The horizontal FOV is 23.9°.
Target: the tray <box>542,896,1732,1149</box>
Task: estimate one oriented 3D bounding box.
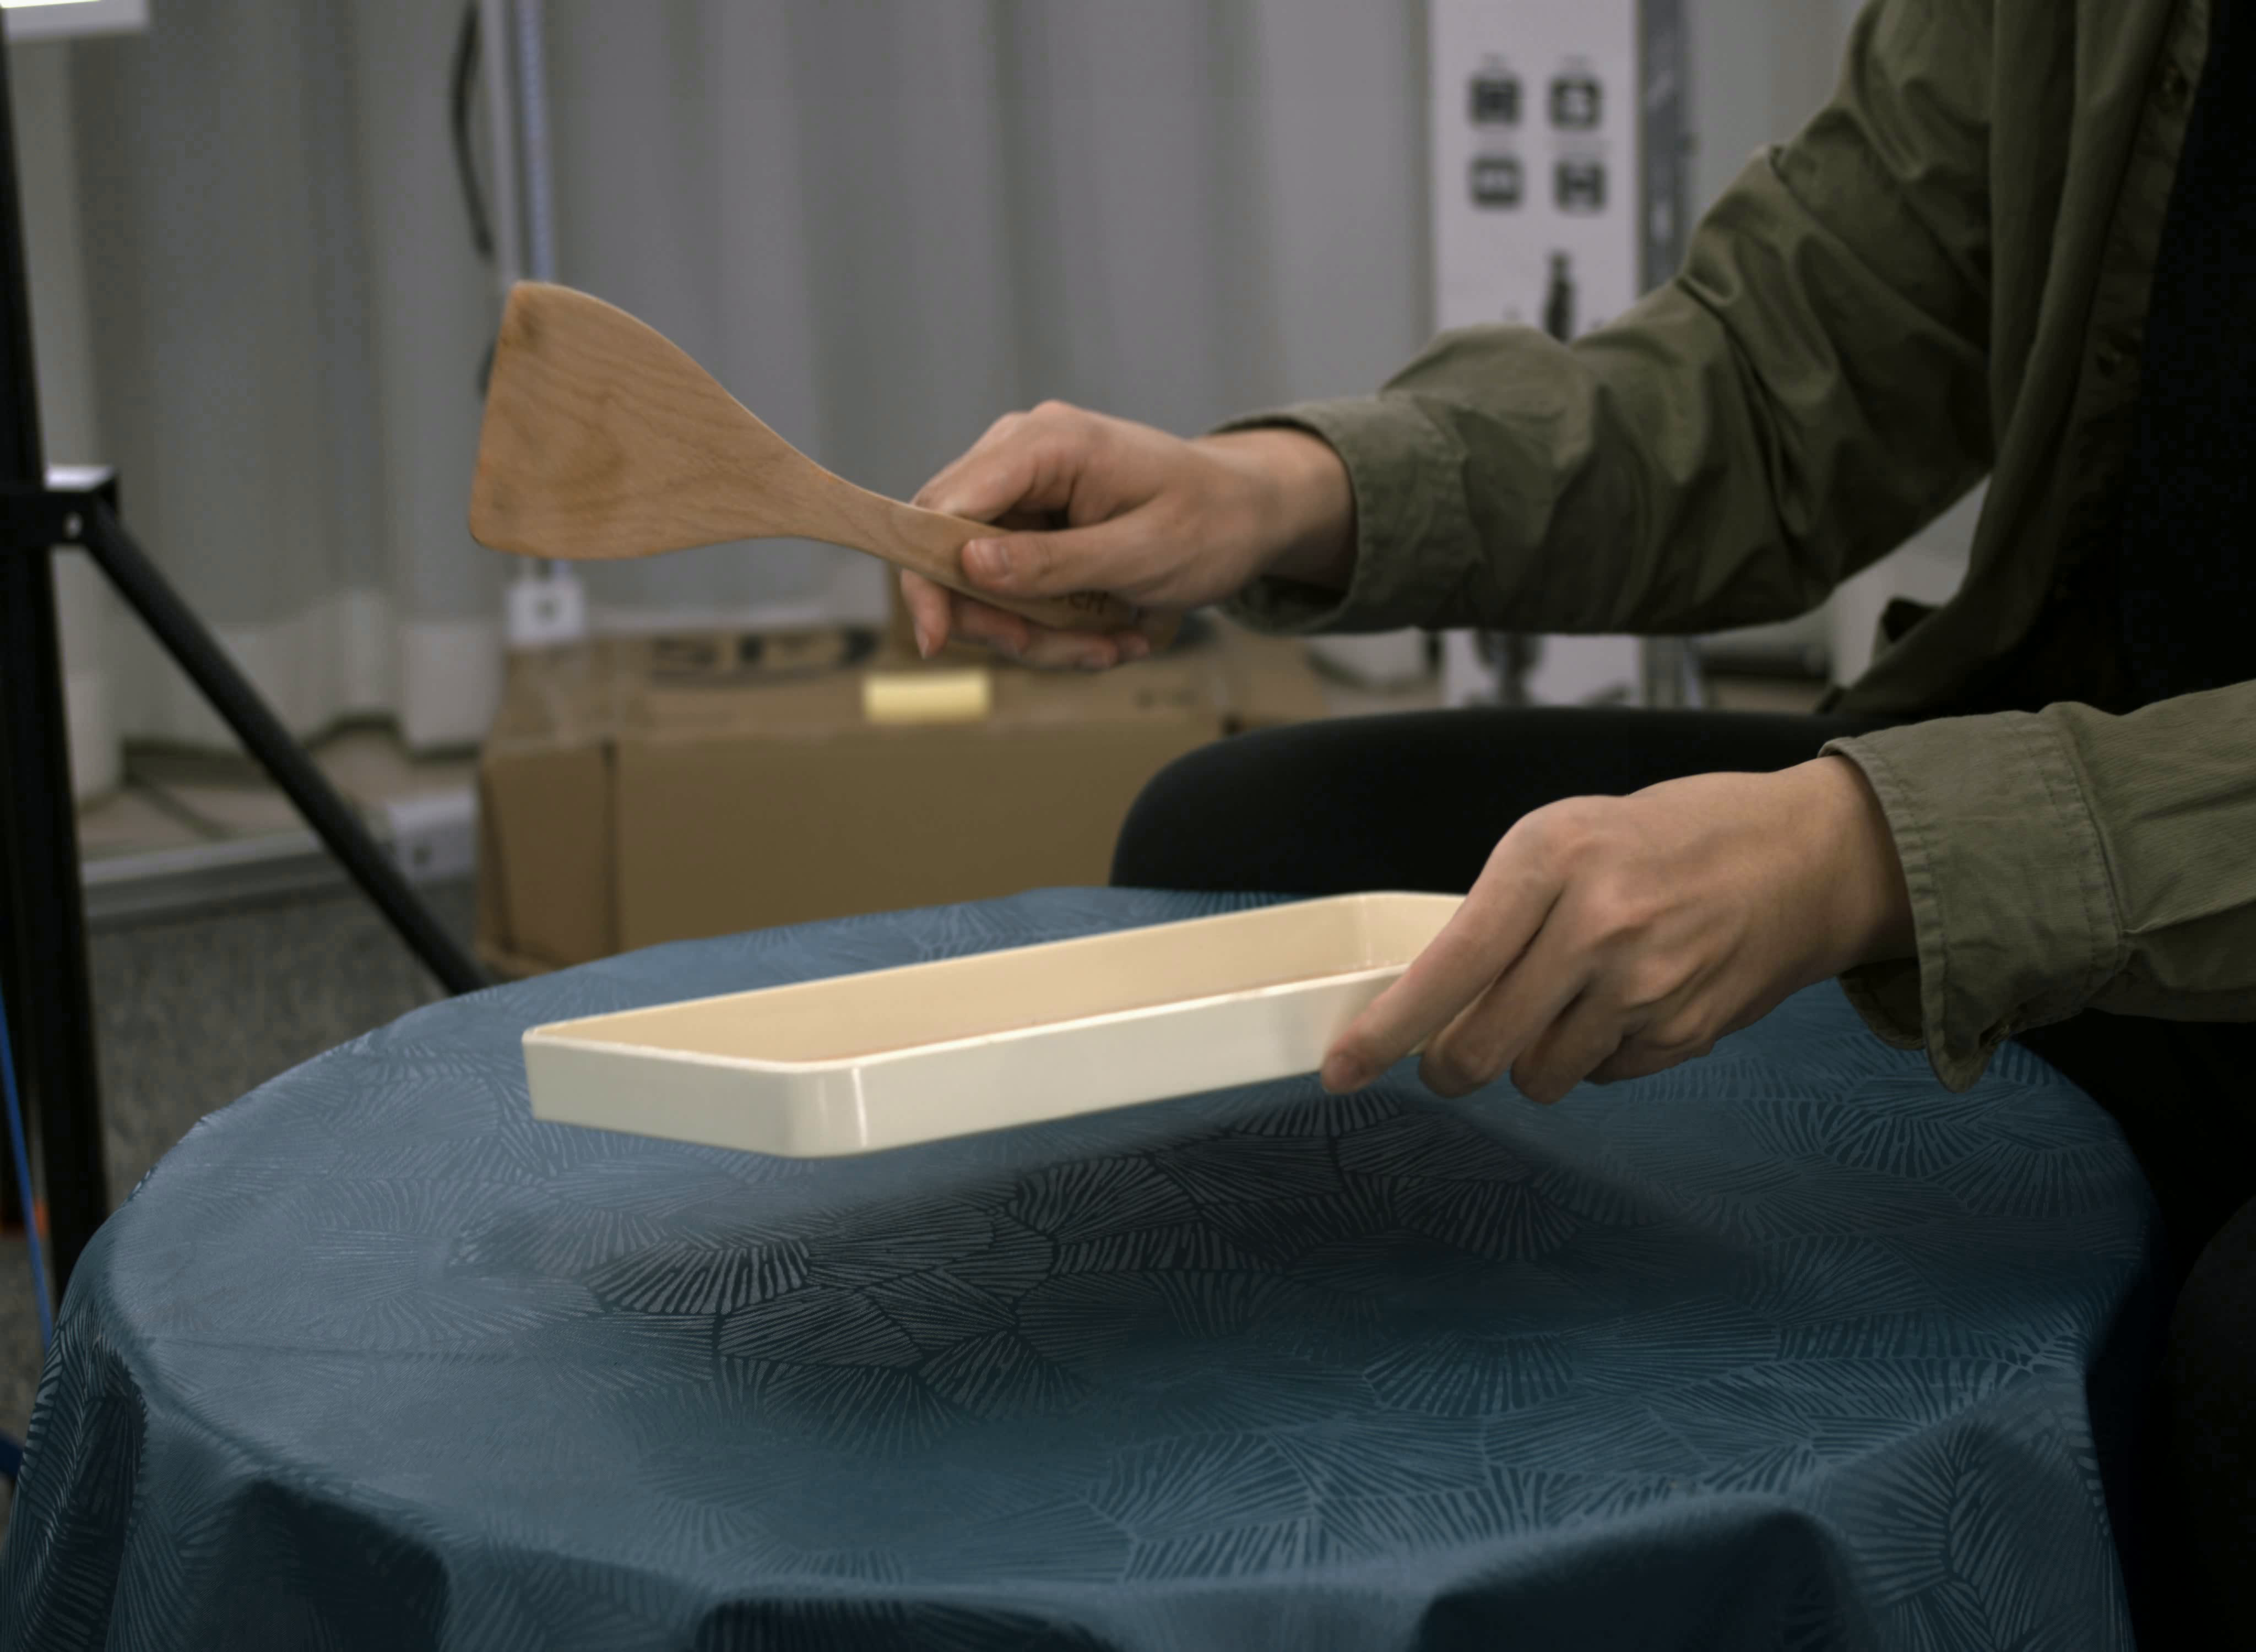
[{"bbox_3d":[0.003,0.053,1.509,0.293,0.027,0.195,-7,5,-28],"label":"tray"}]

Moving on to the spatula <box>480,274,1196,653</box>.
[{"bbox_3d":[-0.083,-0.095,1.660,0.017,0.080,0.318,20,3,44],"label":"spatula"}]
